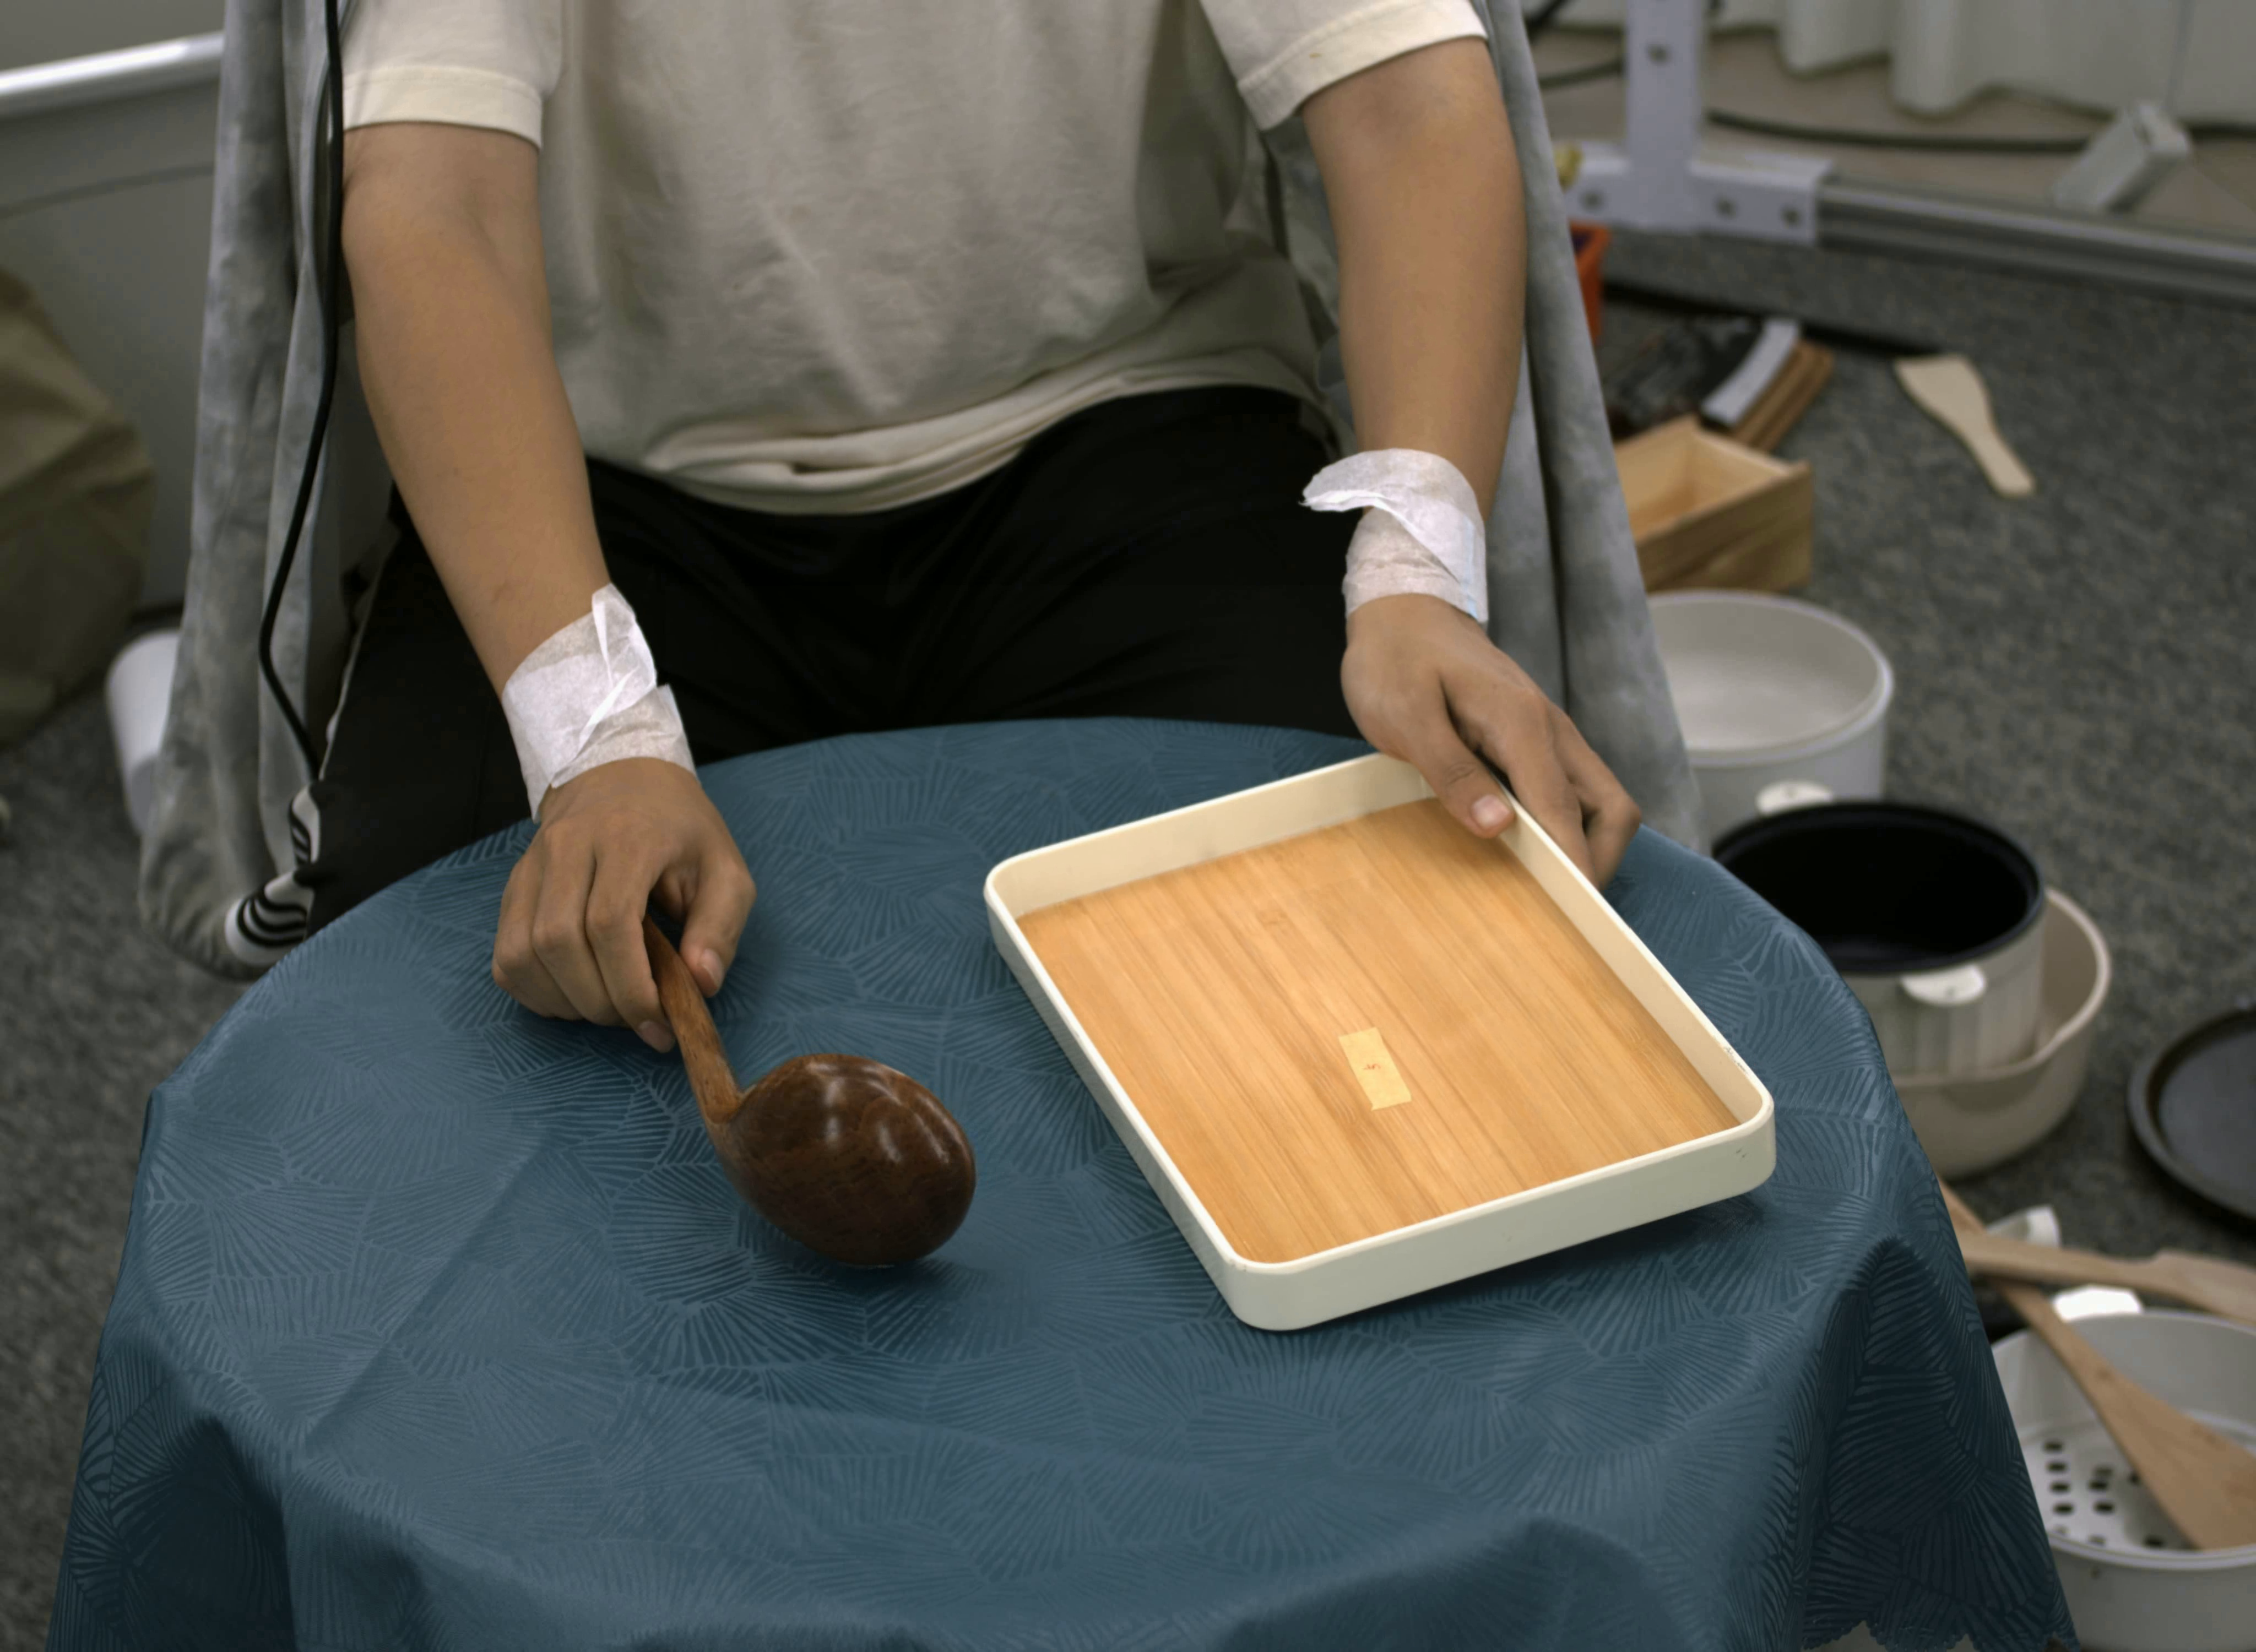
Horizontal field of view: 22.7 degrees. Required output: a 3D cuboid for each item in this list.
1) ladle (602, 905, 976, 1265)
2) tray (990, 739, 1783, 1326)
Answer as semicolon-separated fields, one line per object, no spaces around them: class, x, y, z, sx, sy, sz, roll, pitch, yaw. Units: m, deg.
ladle;-0.118;0.070;1.903;0.076;0.081;0.276;-22;25;-7
tray;0.082;0.064;1.915;0.192;0.027;0.303;-16;29;-12
